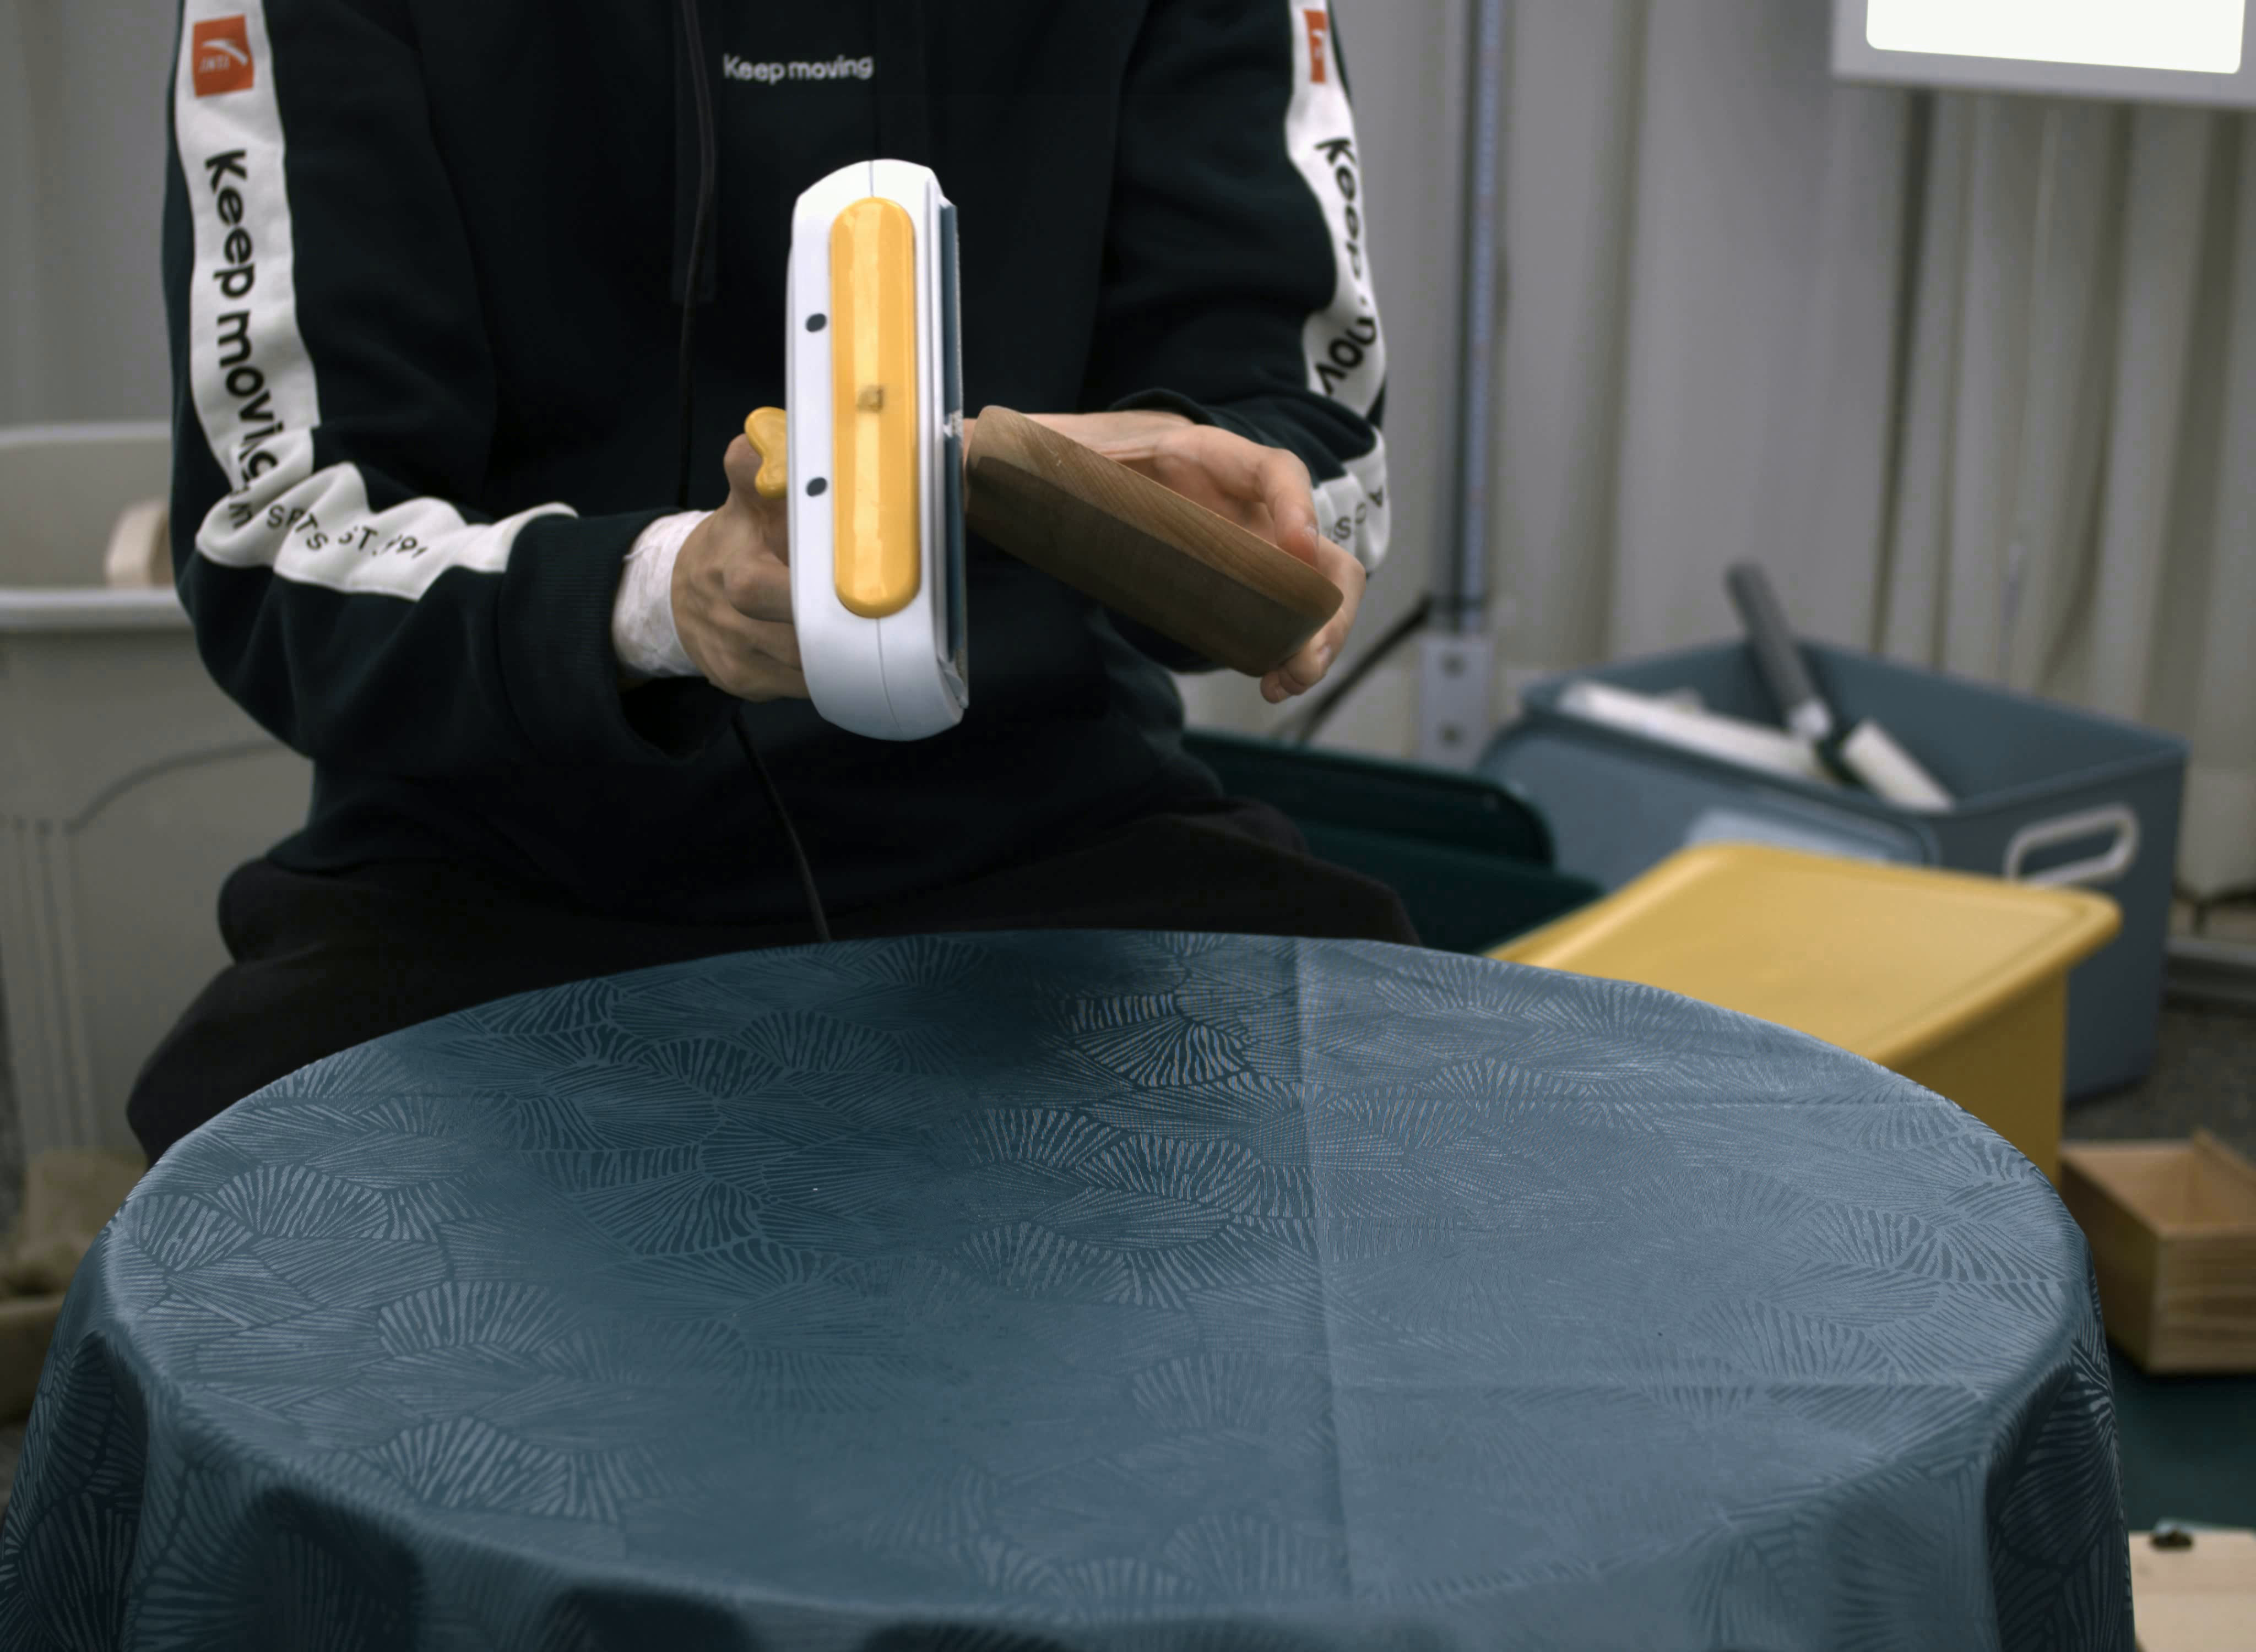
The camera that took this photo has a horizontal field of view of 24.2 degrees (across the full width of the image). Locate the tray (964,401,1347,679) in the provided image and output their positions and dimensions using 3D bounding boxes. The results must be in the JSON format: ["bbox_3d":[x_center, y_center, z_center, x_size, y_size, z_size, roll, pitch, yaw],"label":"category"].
[{"bbox_3d":[0.004,-0.089,1.713,0.130,0.023,0.251,31,-4,0],"label":"tray"}]

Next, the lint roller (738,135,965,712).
[{"bbox_3d":[-0.085,-0.103,1.731,0.074,0.191,0.194,-7,-25,-1],"label":"lint roller"}]
